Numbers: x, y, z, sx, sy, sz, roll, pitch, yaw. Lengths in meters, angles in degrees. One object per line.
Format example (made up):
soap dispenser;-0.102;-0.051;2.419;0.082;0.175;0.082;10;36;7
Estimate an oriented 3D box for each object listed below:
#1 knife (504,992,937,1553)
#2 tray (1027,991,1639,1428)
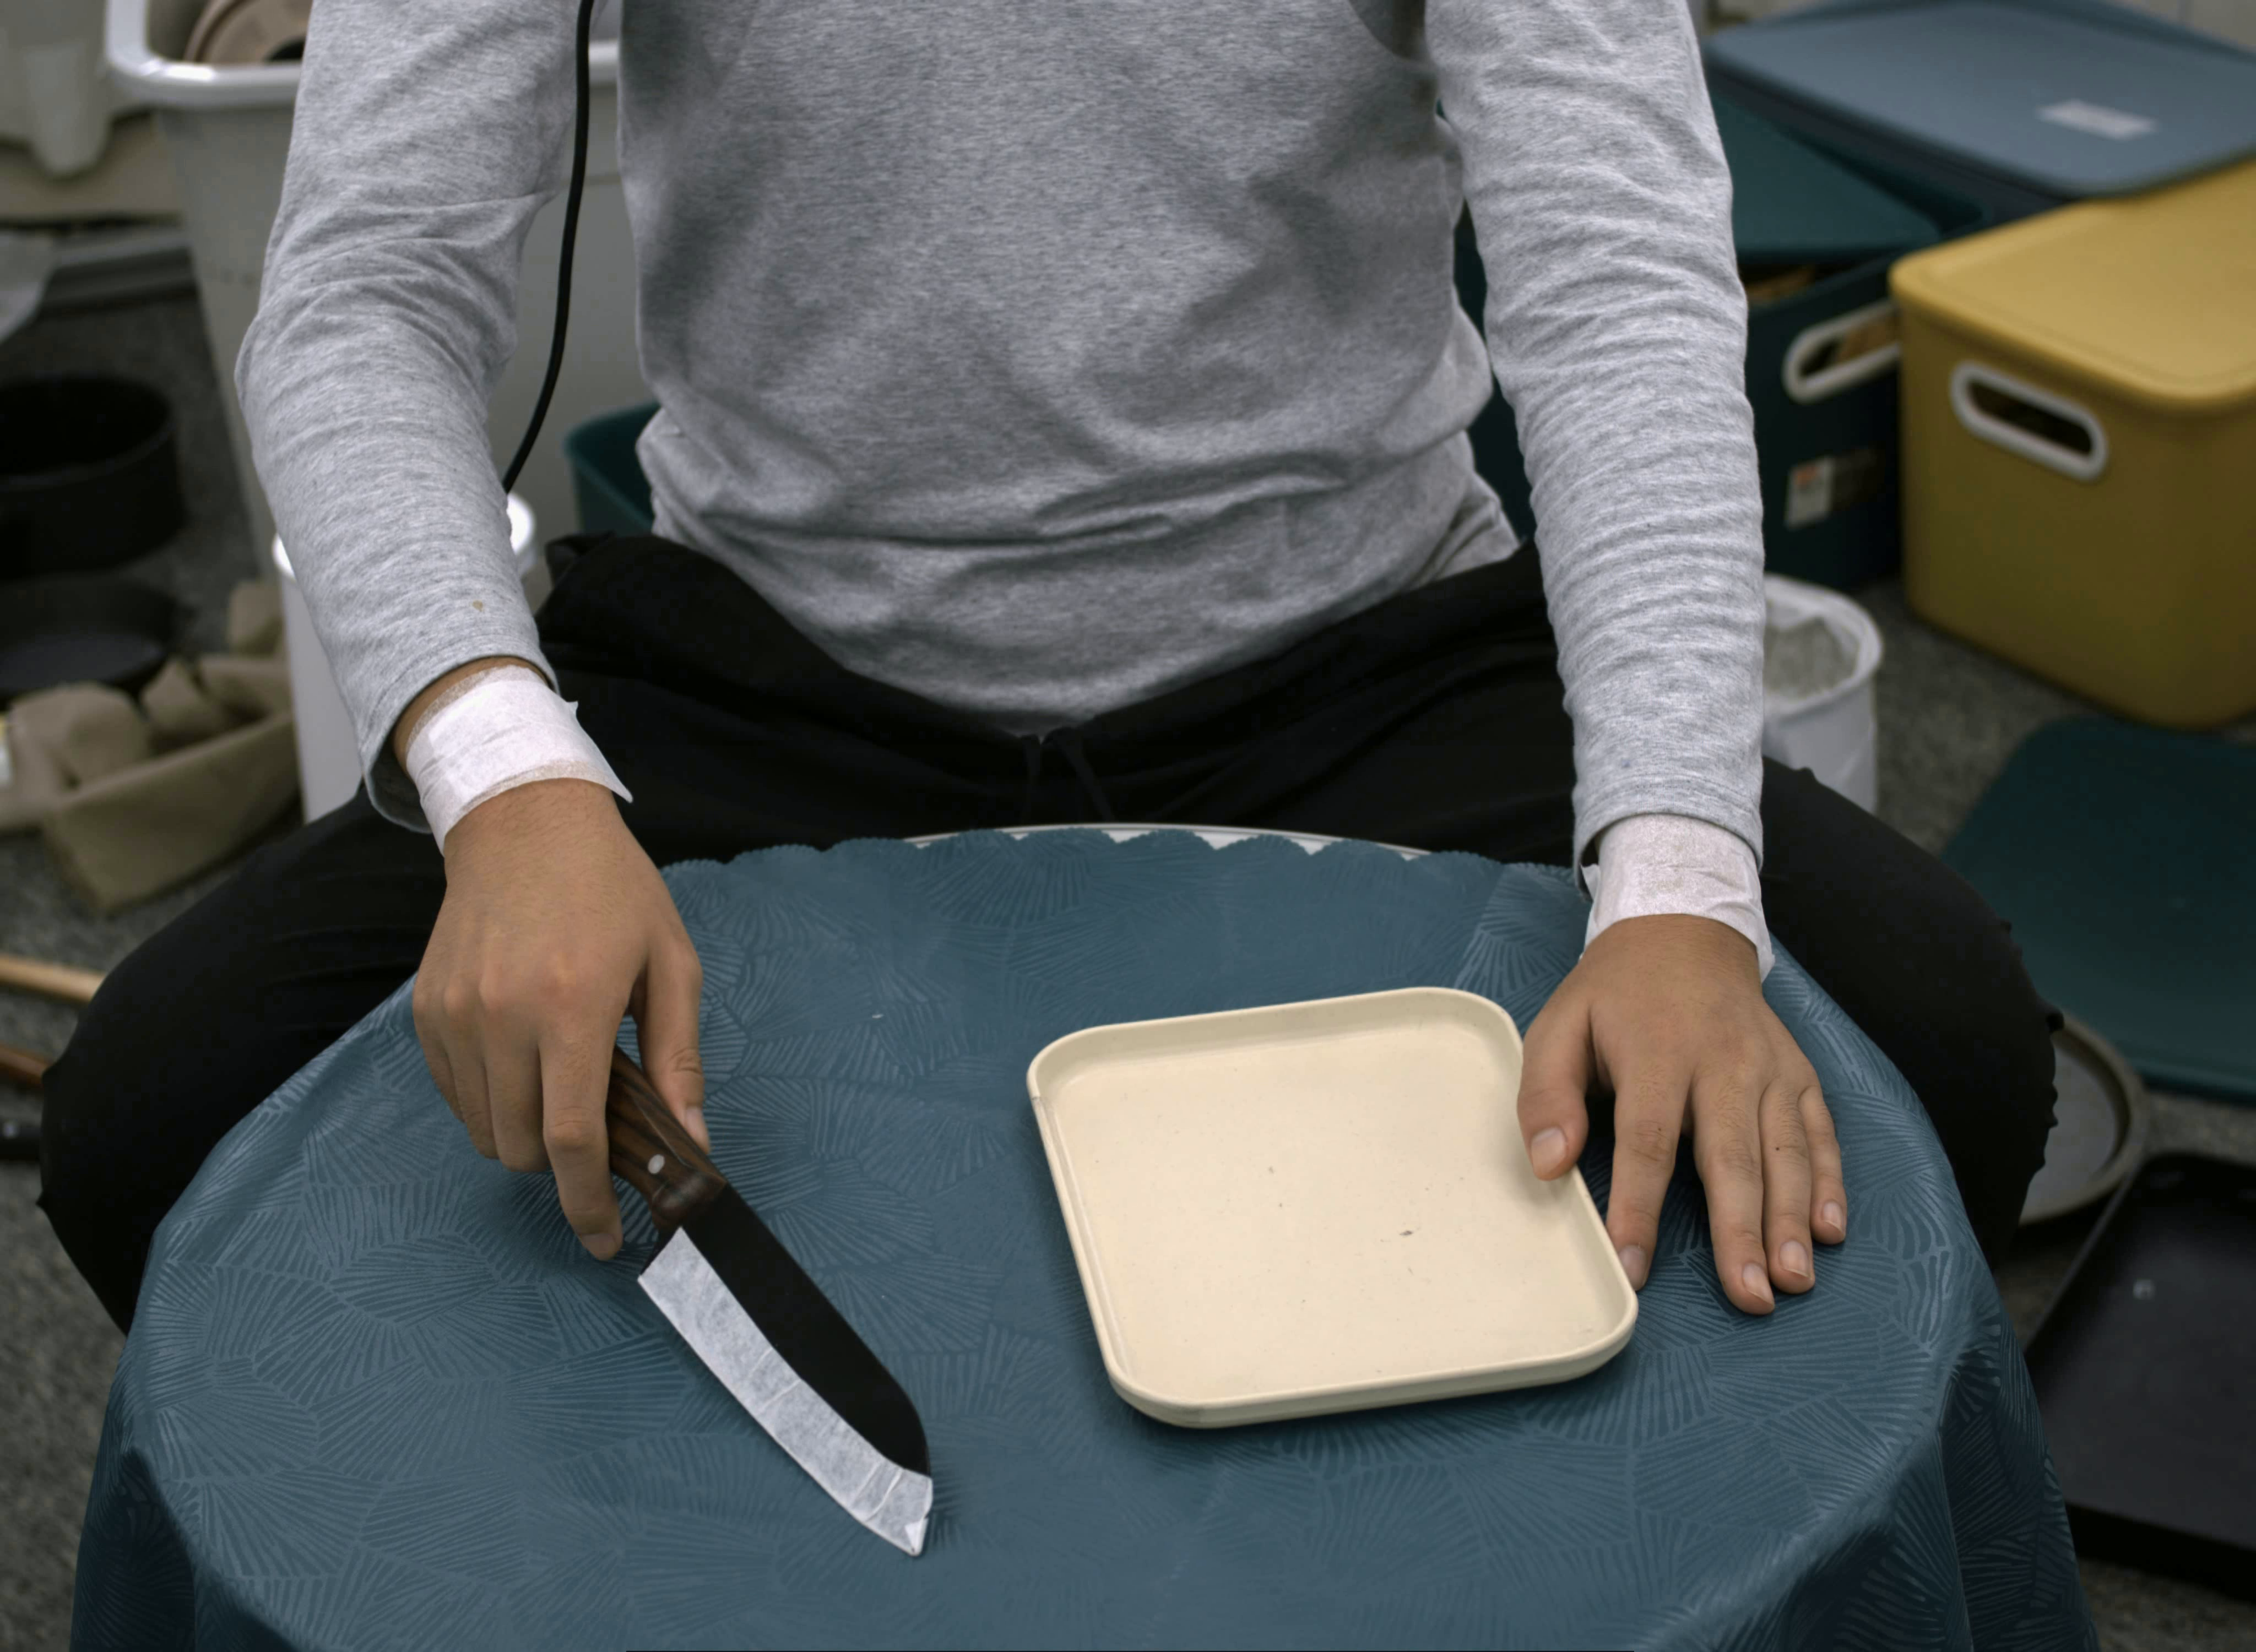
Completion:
knife;-0.130;0.138;1.778;0.020;0.050;0.291;34;10;-45
tray;0.063;0.124;1.833;0.171;0.017;0.243;-6;27;-7
